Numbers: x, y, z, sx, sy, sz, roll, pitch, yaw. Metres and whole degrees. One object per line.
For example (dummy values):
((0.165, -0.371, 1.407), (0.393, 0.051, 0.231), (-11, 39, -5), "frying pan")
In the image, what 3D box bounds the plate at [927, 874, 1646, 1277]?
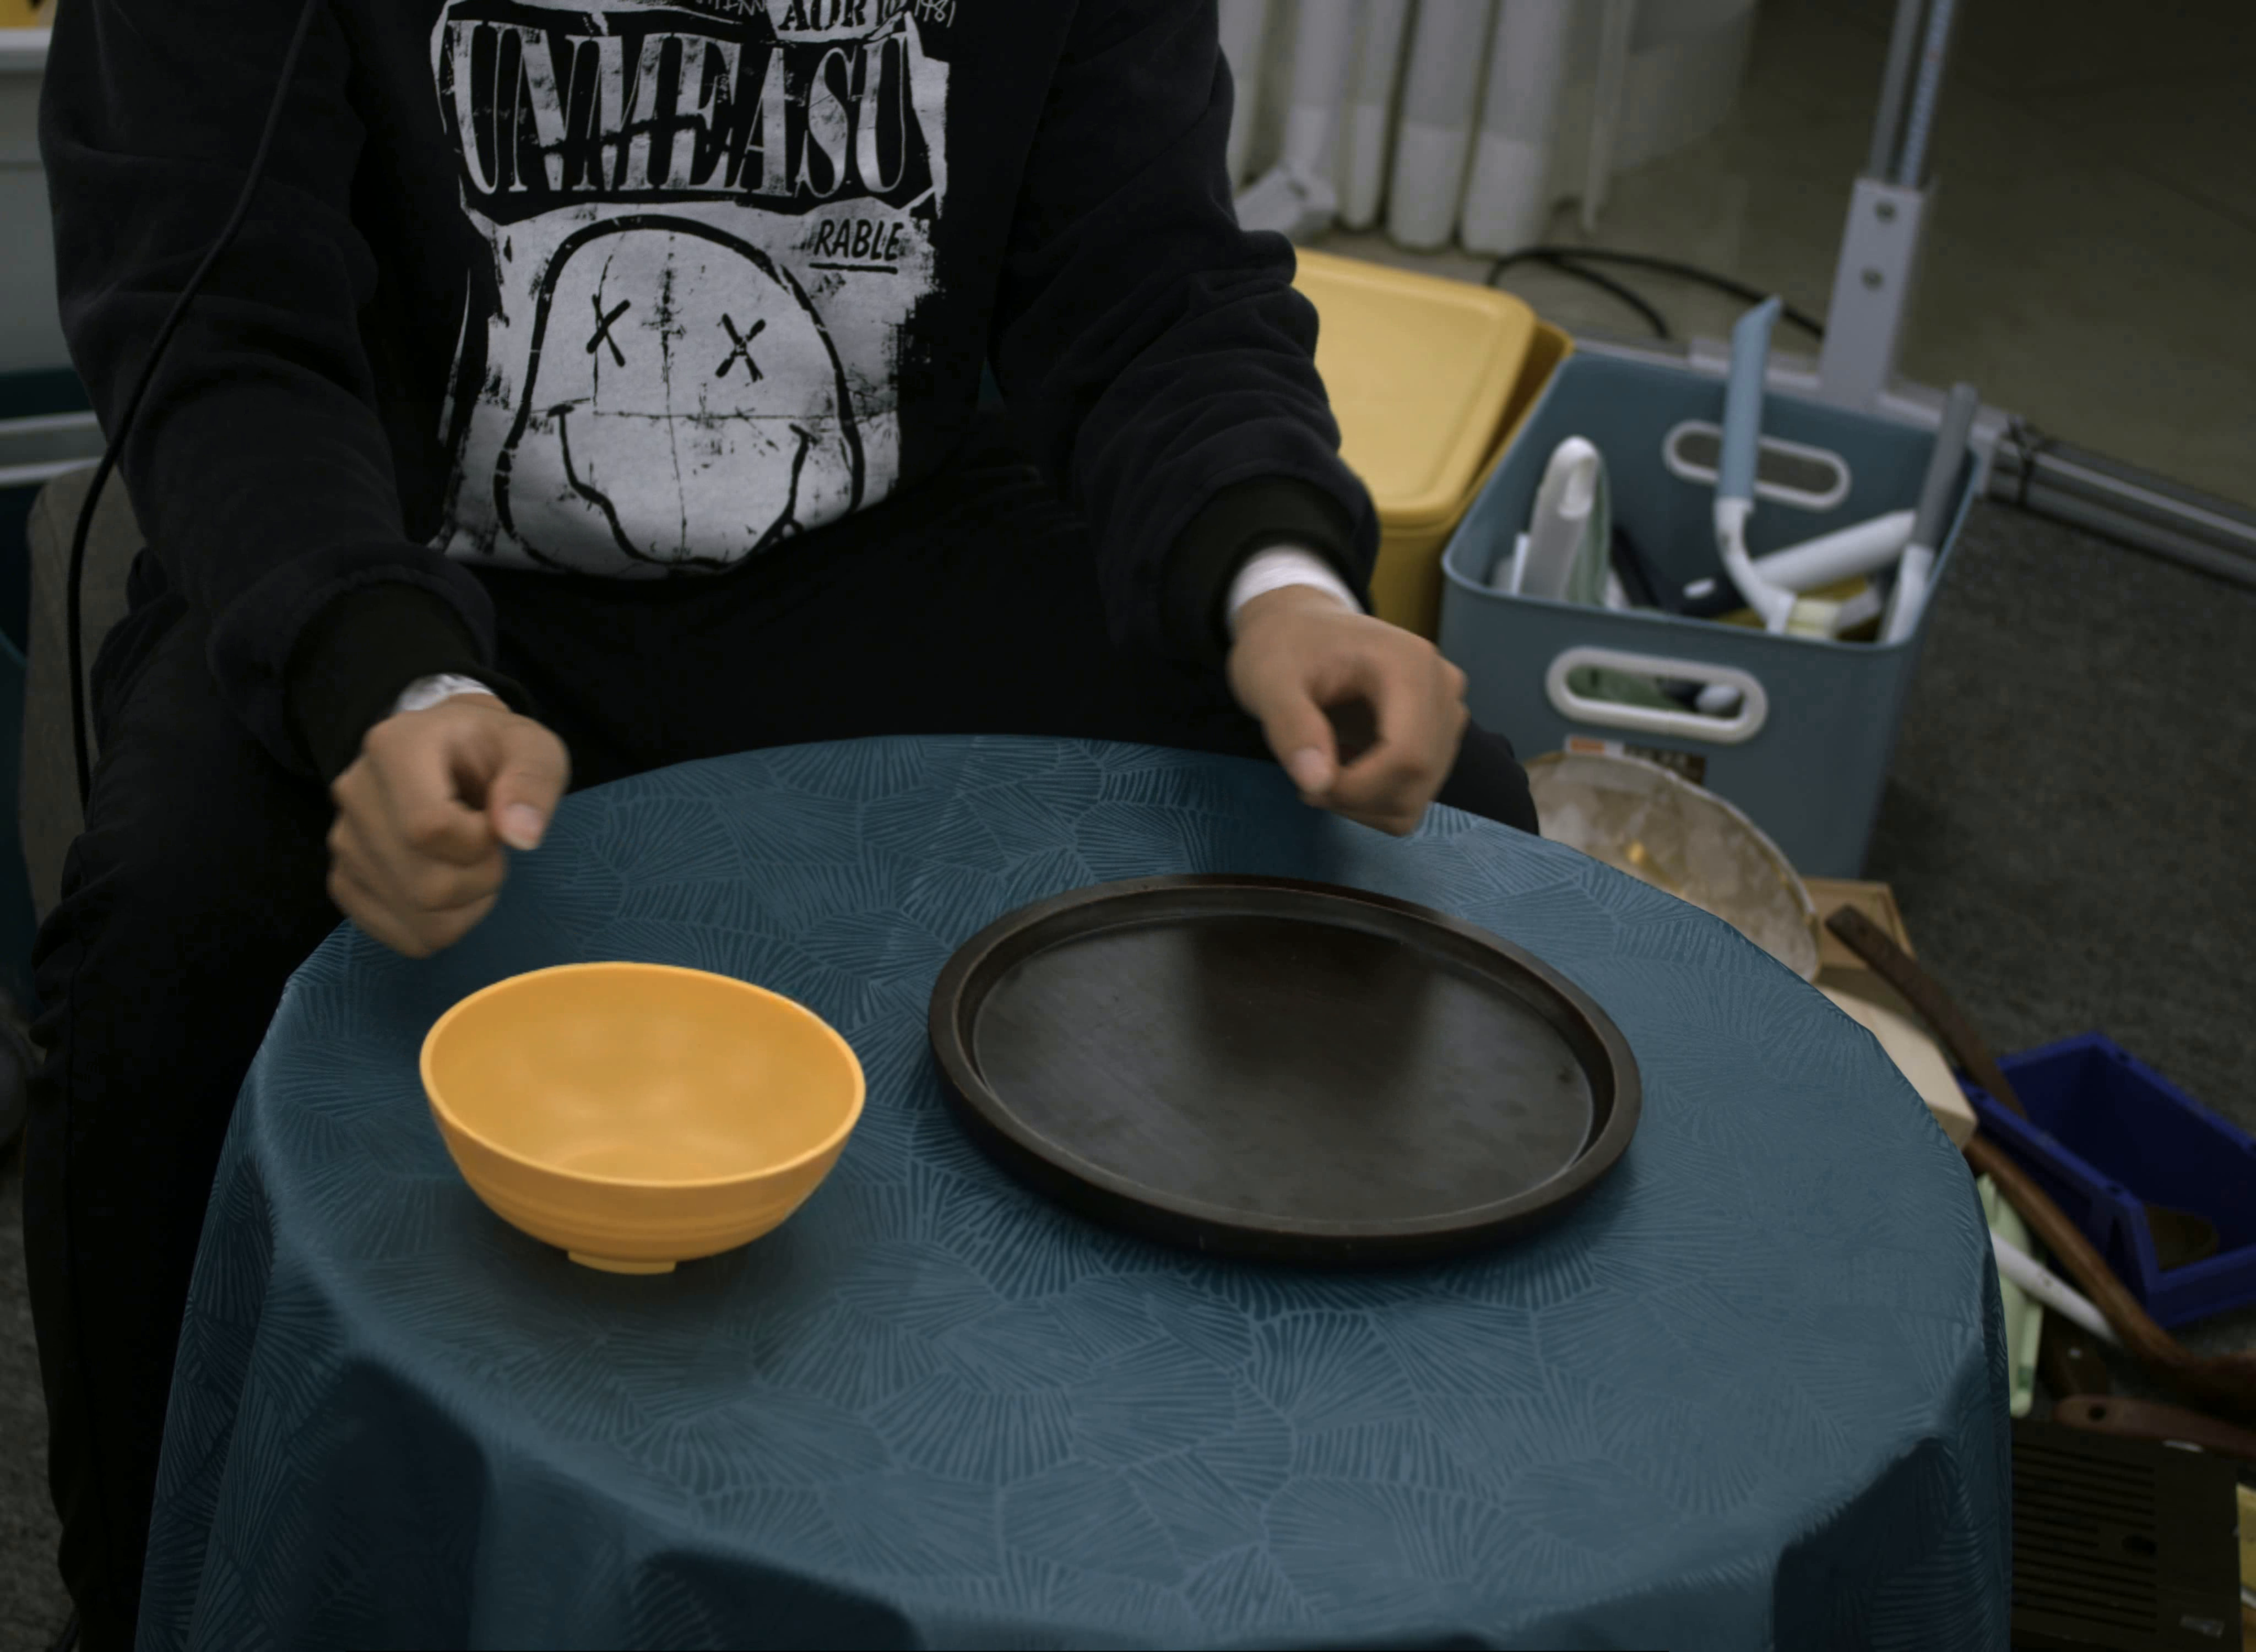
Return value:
((0.055, 0.086, 1.863), (0.254, 0.029, 0.256), (4, 27, -2), "plate")

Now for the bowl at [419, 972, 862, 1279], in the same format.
((-0.161, 0.106, 1.737), (0.145, 0.060, 0.146), (6, 24, -3), "bowl")
